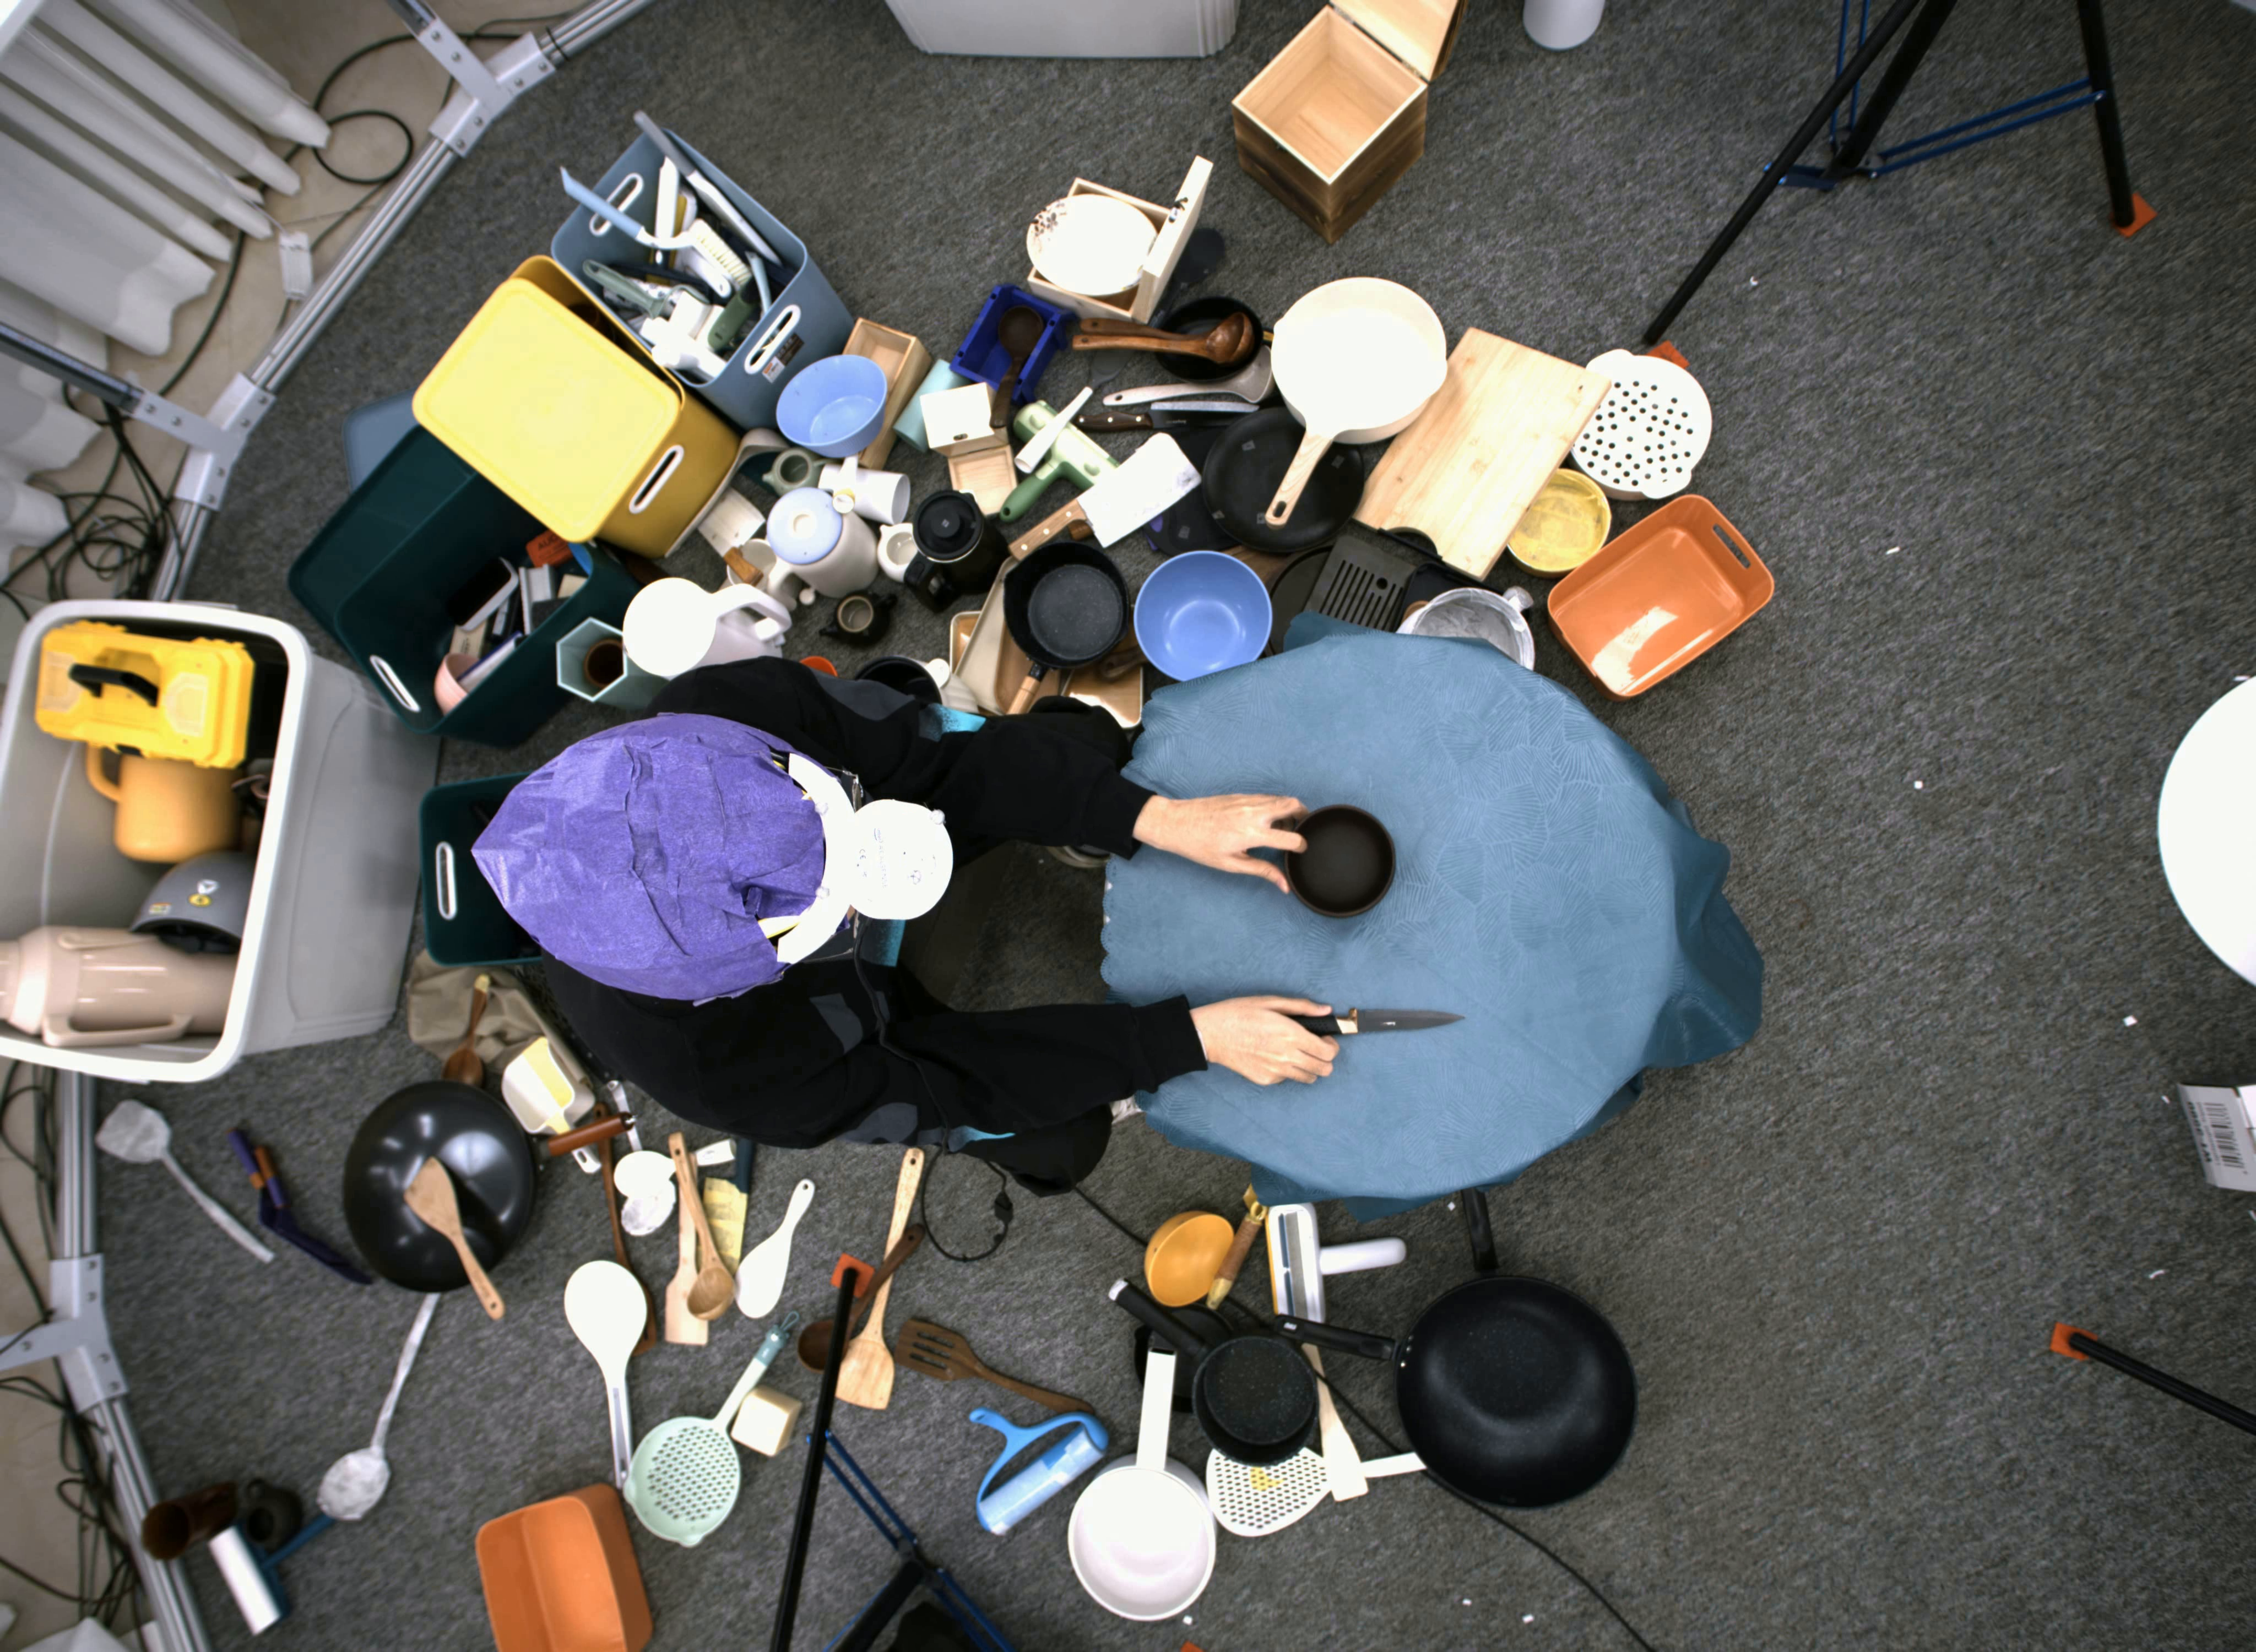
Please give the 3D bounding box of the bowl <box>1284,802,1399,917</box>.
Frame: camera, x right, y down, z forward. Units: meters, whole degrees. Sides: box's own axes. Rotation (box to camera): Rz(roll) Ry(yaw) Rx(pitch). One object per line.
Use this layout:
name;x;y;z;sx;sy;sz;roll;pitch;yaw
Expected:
bowl;0.222;0.036;1.433;0.118;0.070;0.117;-1;84;11

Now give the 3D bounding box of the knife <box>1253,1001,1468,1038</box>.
knife;0.243;0.202;1.452;0.226;0.017;0.026;-6;77;8
